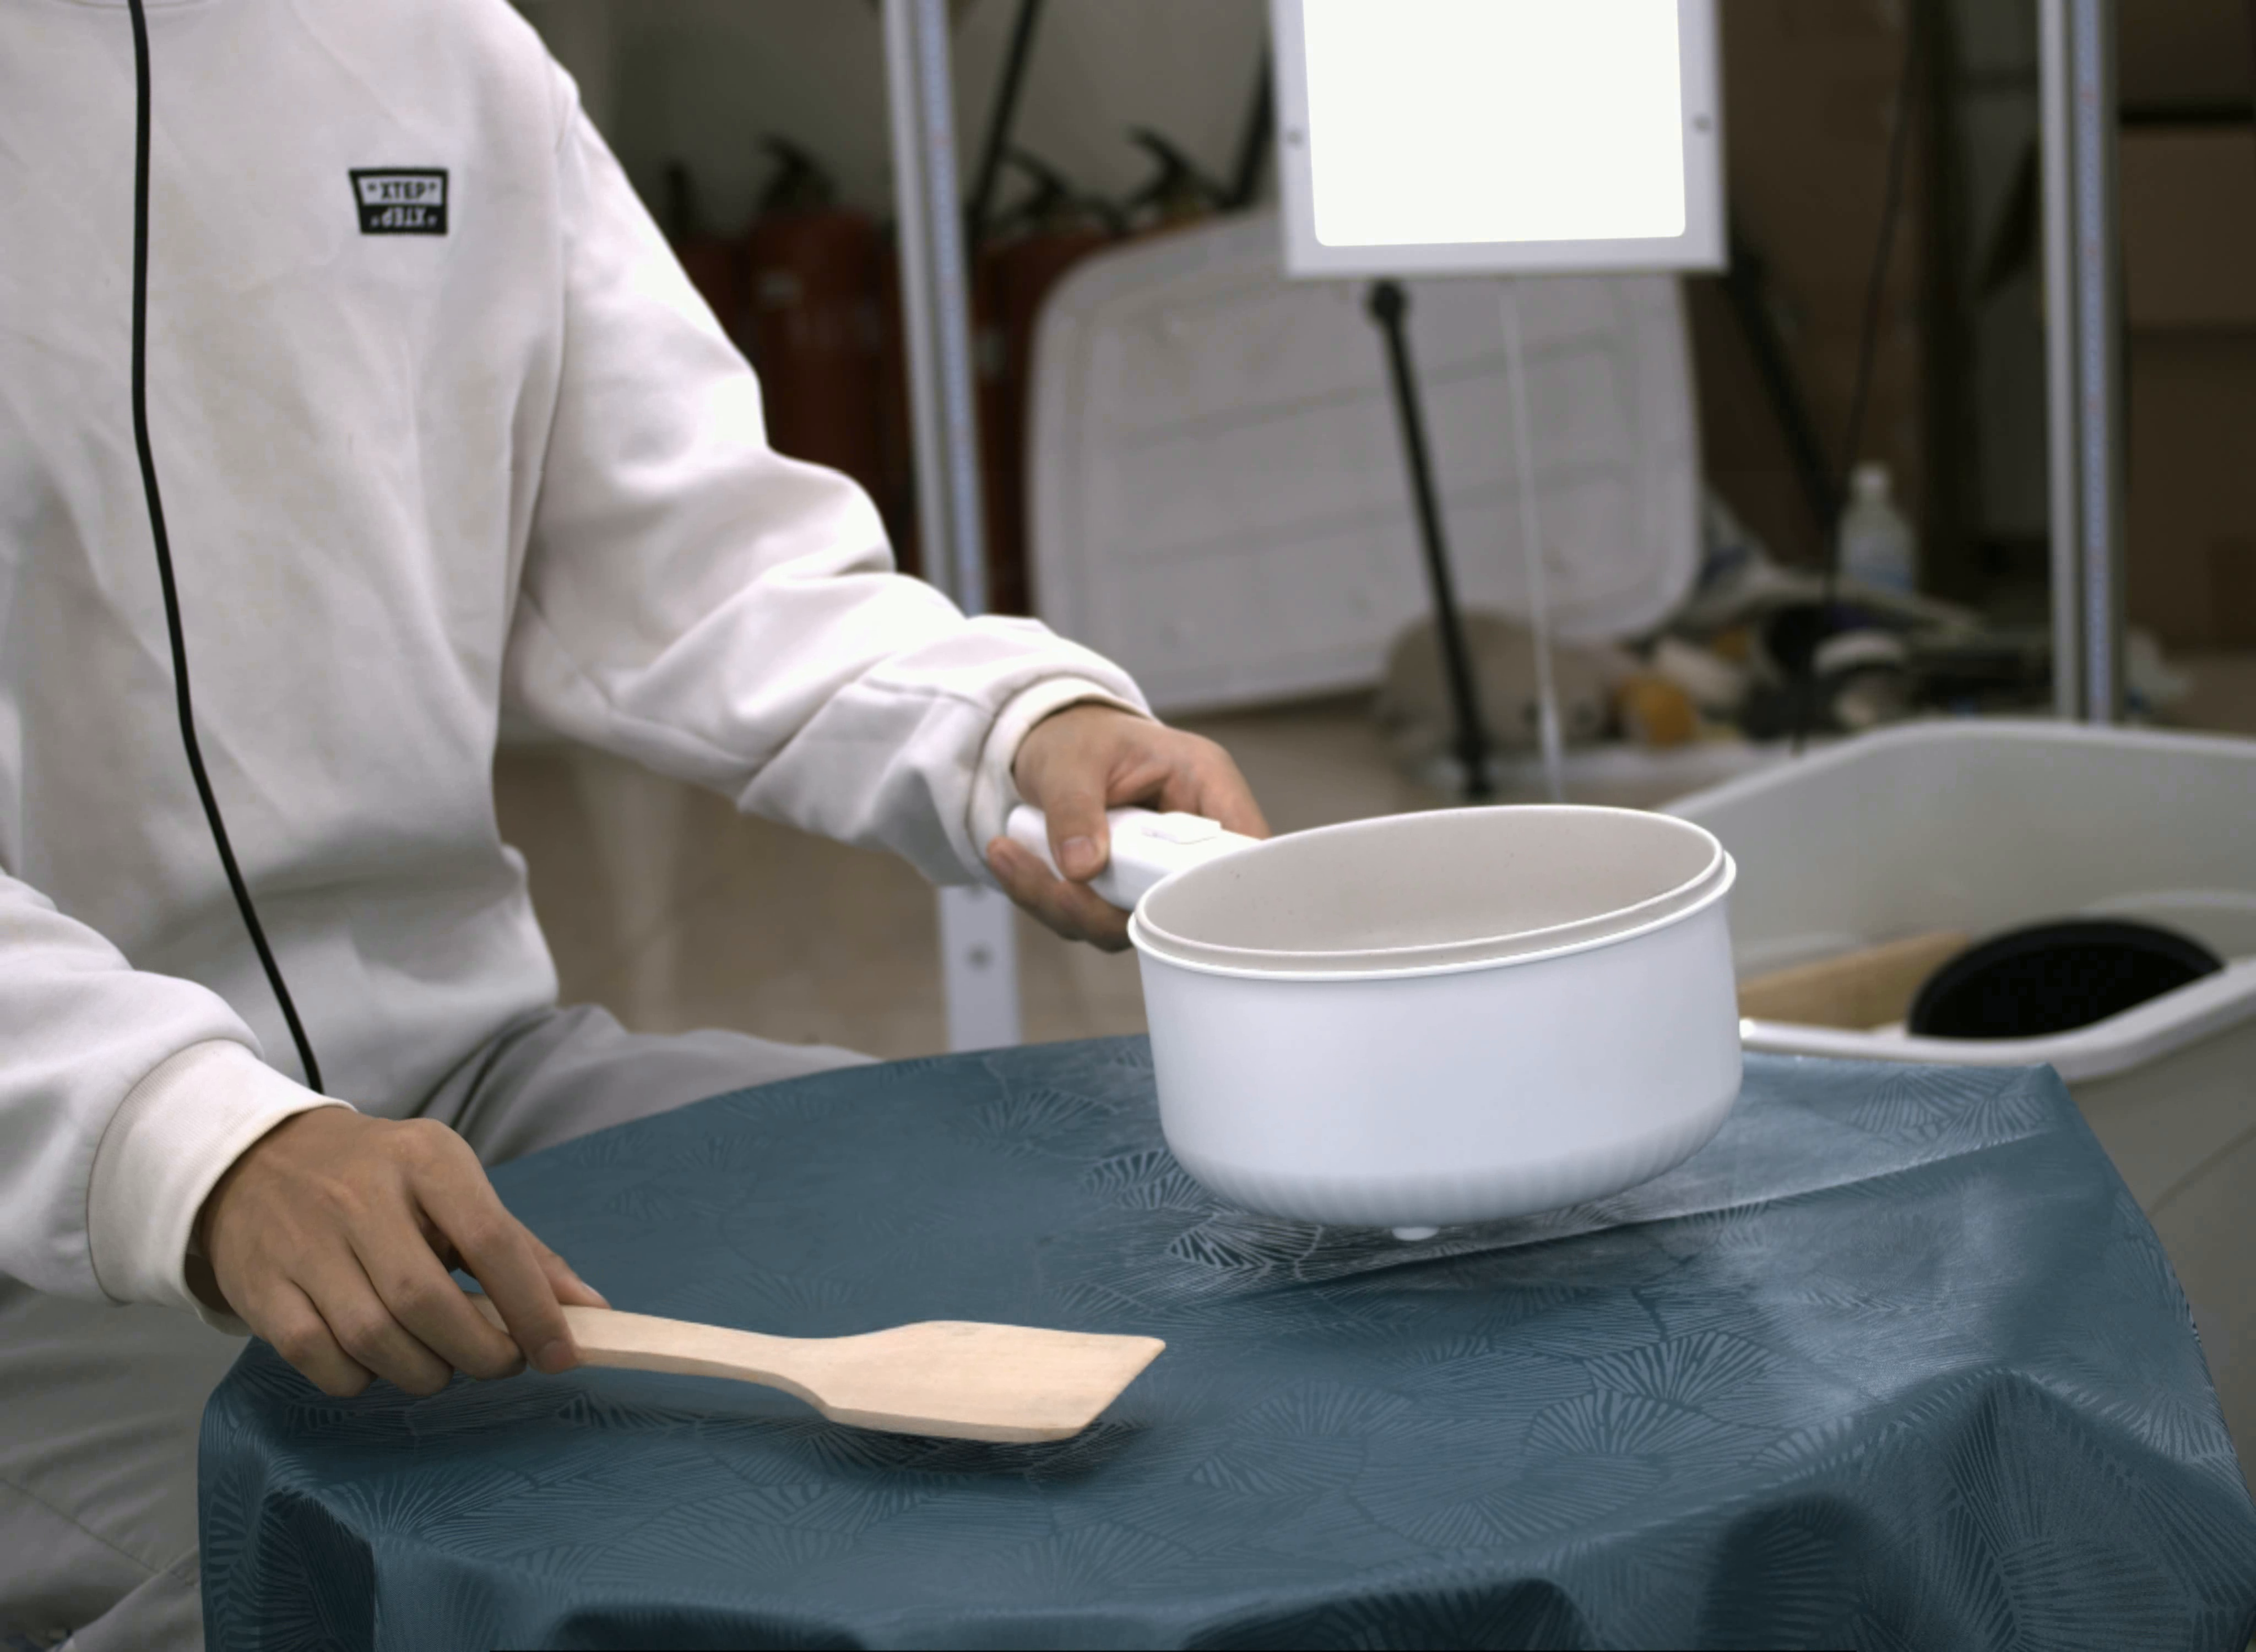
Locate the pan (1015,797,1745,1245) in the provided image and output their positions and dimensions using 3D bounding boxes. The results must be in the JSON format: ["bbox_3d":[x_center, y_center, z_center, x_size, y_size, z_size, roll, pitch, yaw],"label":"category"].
[{"bbox_3d":[0.066,0.058,1.882,0.197,0.102,0.361,-15,14,-27],"label":"pan"}]

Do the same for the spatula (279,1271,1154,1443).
[{"bbox_3d":[-0.136,0.161,1.708,0.298,0.011,0.071,4,21,26],"label":"spatula"}]
